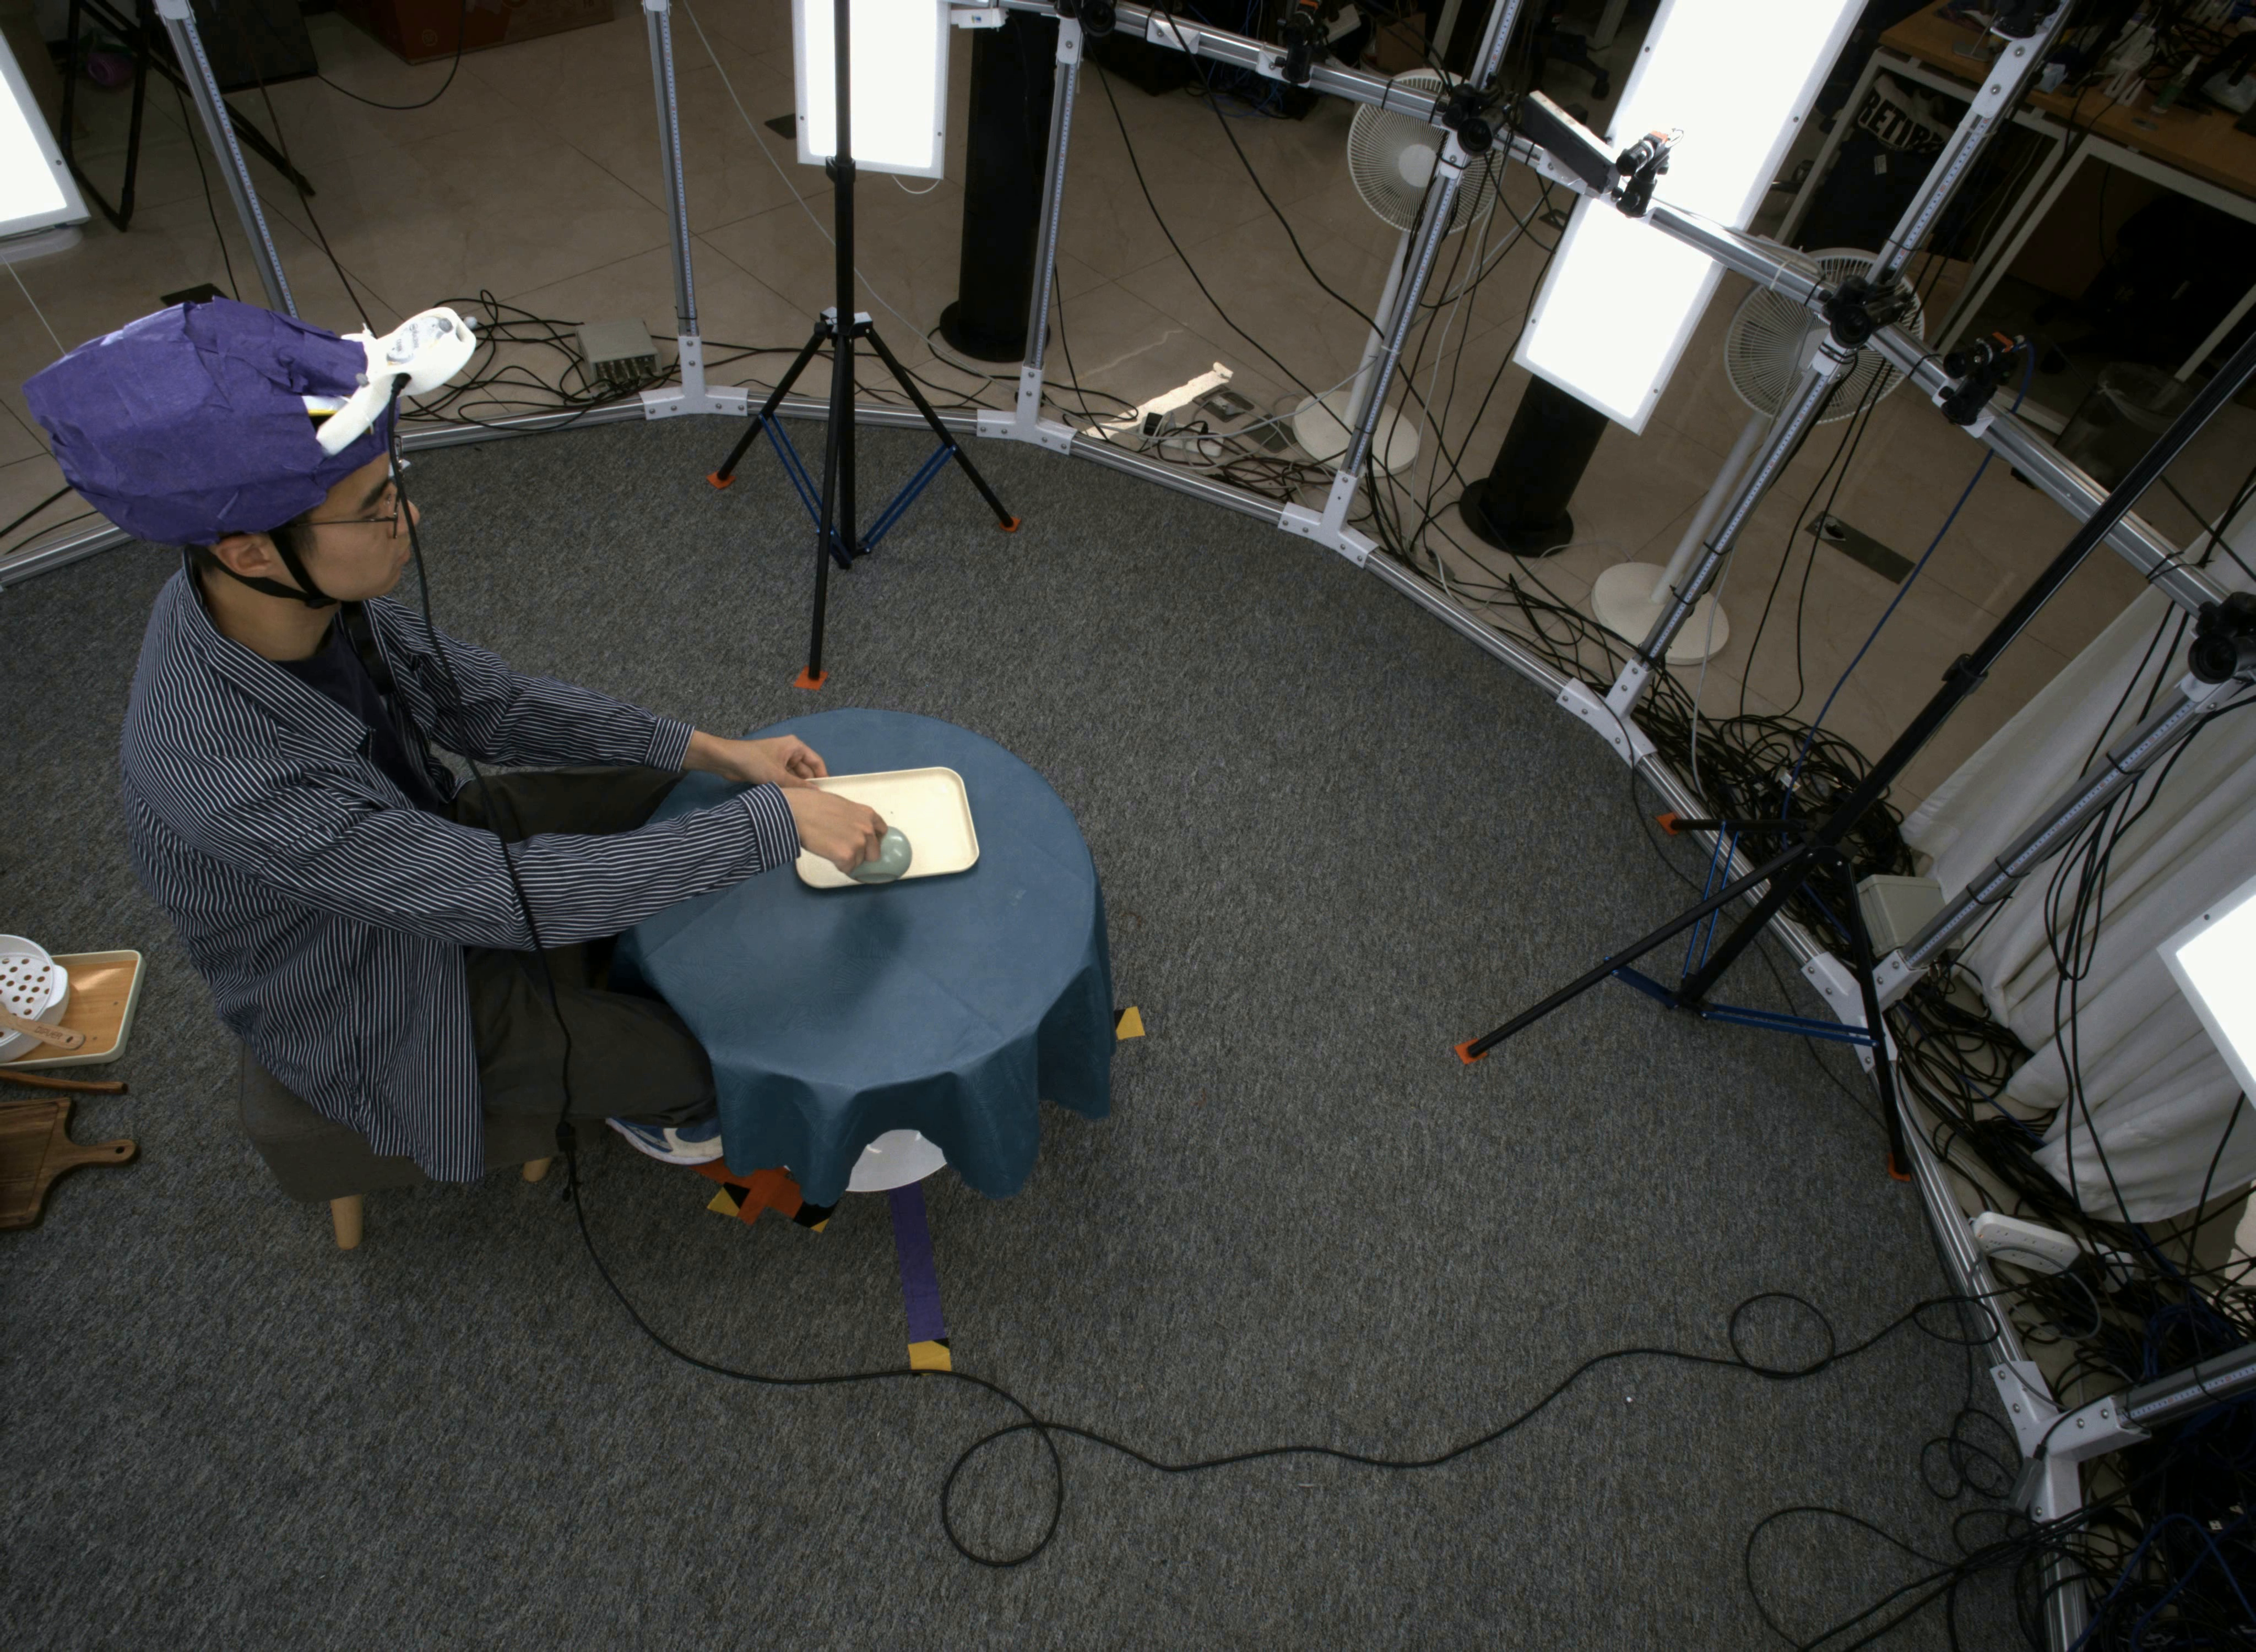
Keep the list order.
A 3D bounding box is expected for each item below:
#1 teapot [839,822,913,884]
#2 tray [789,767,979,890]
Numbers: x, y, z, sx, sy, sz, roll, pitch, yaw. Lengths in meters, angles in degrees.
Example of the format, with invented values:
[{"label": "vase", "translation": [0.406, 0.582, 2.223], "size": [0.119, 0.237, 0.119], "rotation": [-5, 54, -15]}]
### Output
[{"label": "teapot", "translation": [-0.314, 0.033, 1.607], "size": [0.090, 0.130, 0.061], "rotation": [-4, 76, 2]}, {"label": "tray", "translation": [-0.327, 0.002, 1.744], "size": [0.240, 0.018, 0.168], "rotation": [-6, 59, -19]}]
